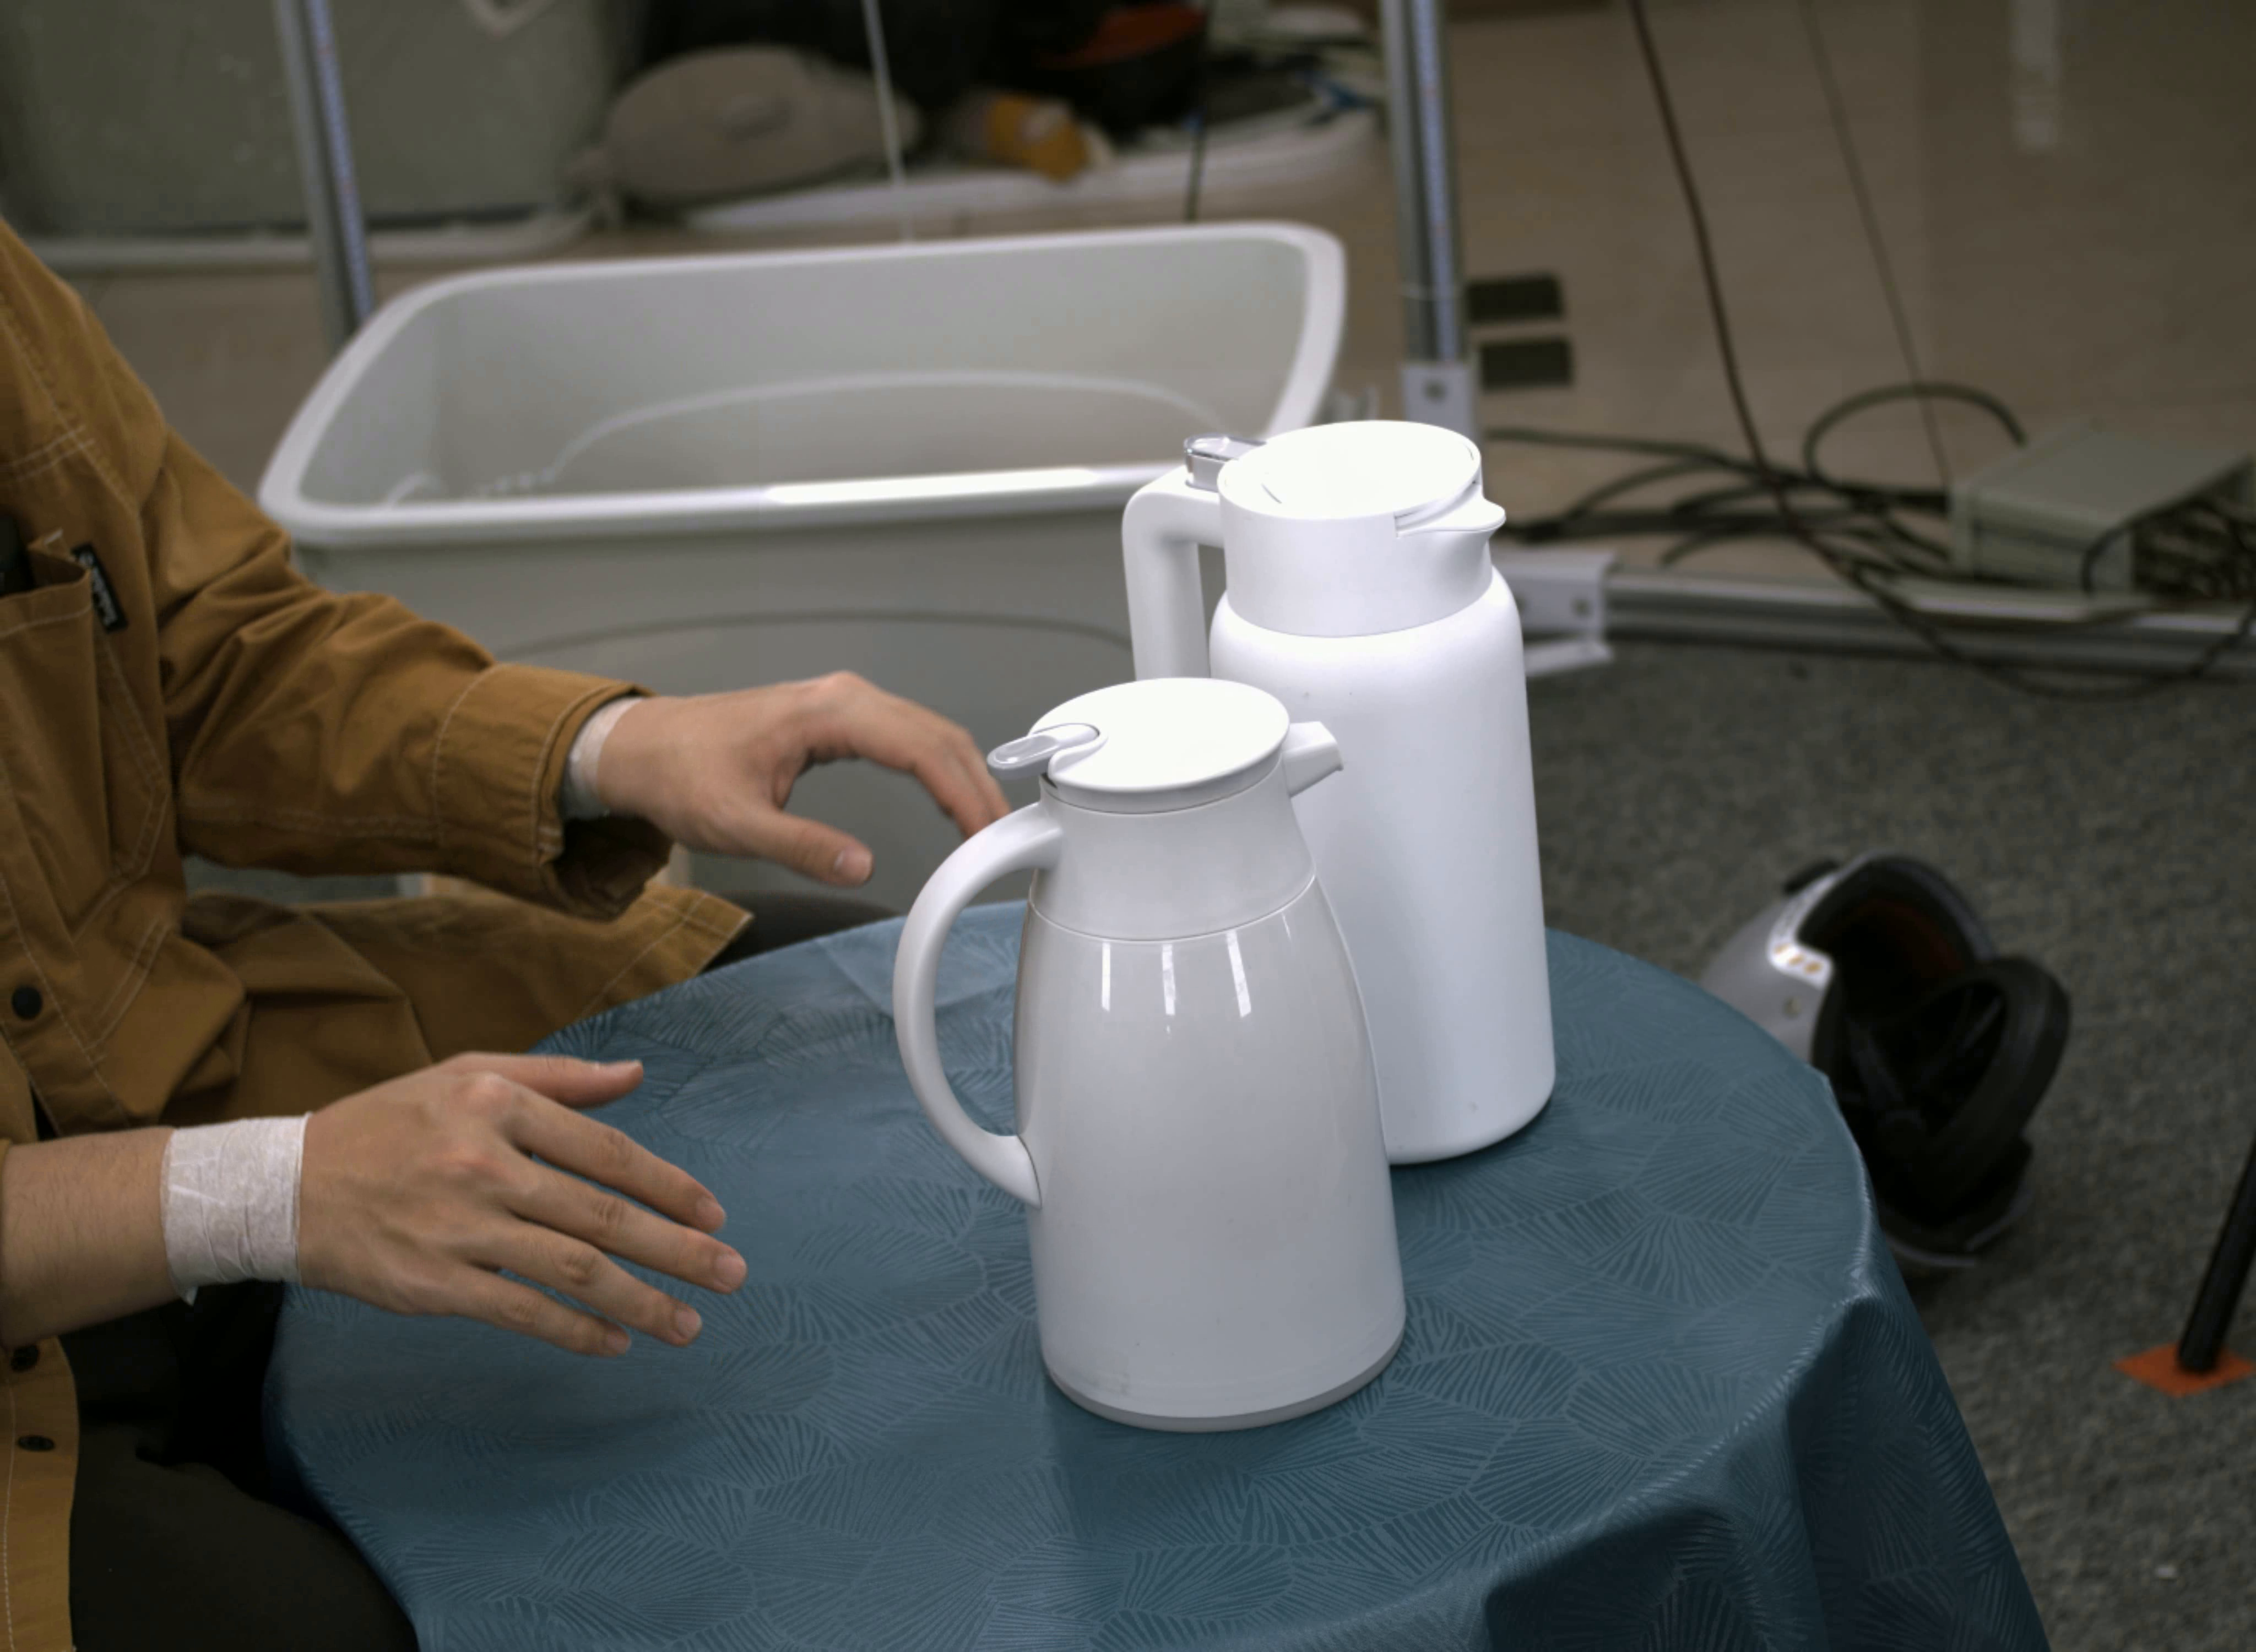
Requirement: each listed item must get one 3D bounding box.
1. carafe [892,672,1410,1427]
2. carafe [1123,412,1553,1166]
[{"bbox_3d":[0.004,0.076,1.983,0.167,0.252,0.131,-14,27,-12],"label":"carafe"},{"bbox_3d":[0.080,-0.015,2.140,0.172,0.273,0.122,14,34,36],"label":"carafe"}]
